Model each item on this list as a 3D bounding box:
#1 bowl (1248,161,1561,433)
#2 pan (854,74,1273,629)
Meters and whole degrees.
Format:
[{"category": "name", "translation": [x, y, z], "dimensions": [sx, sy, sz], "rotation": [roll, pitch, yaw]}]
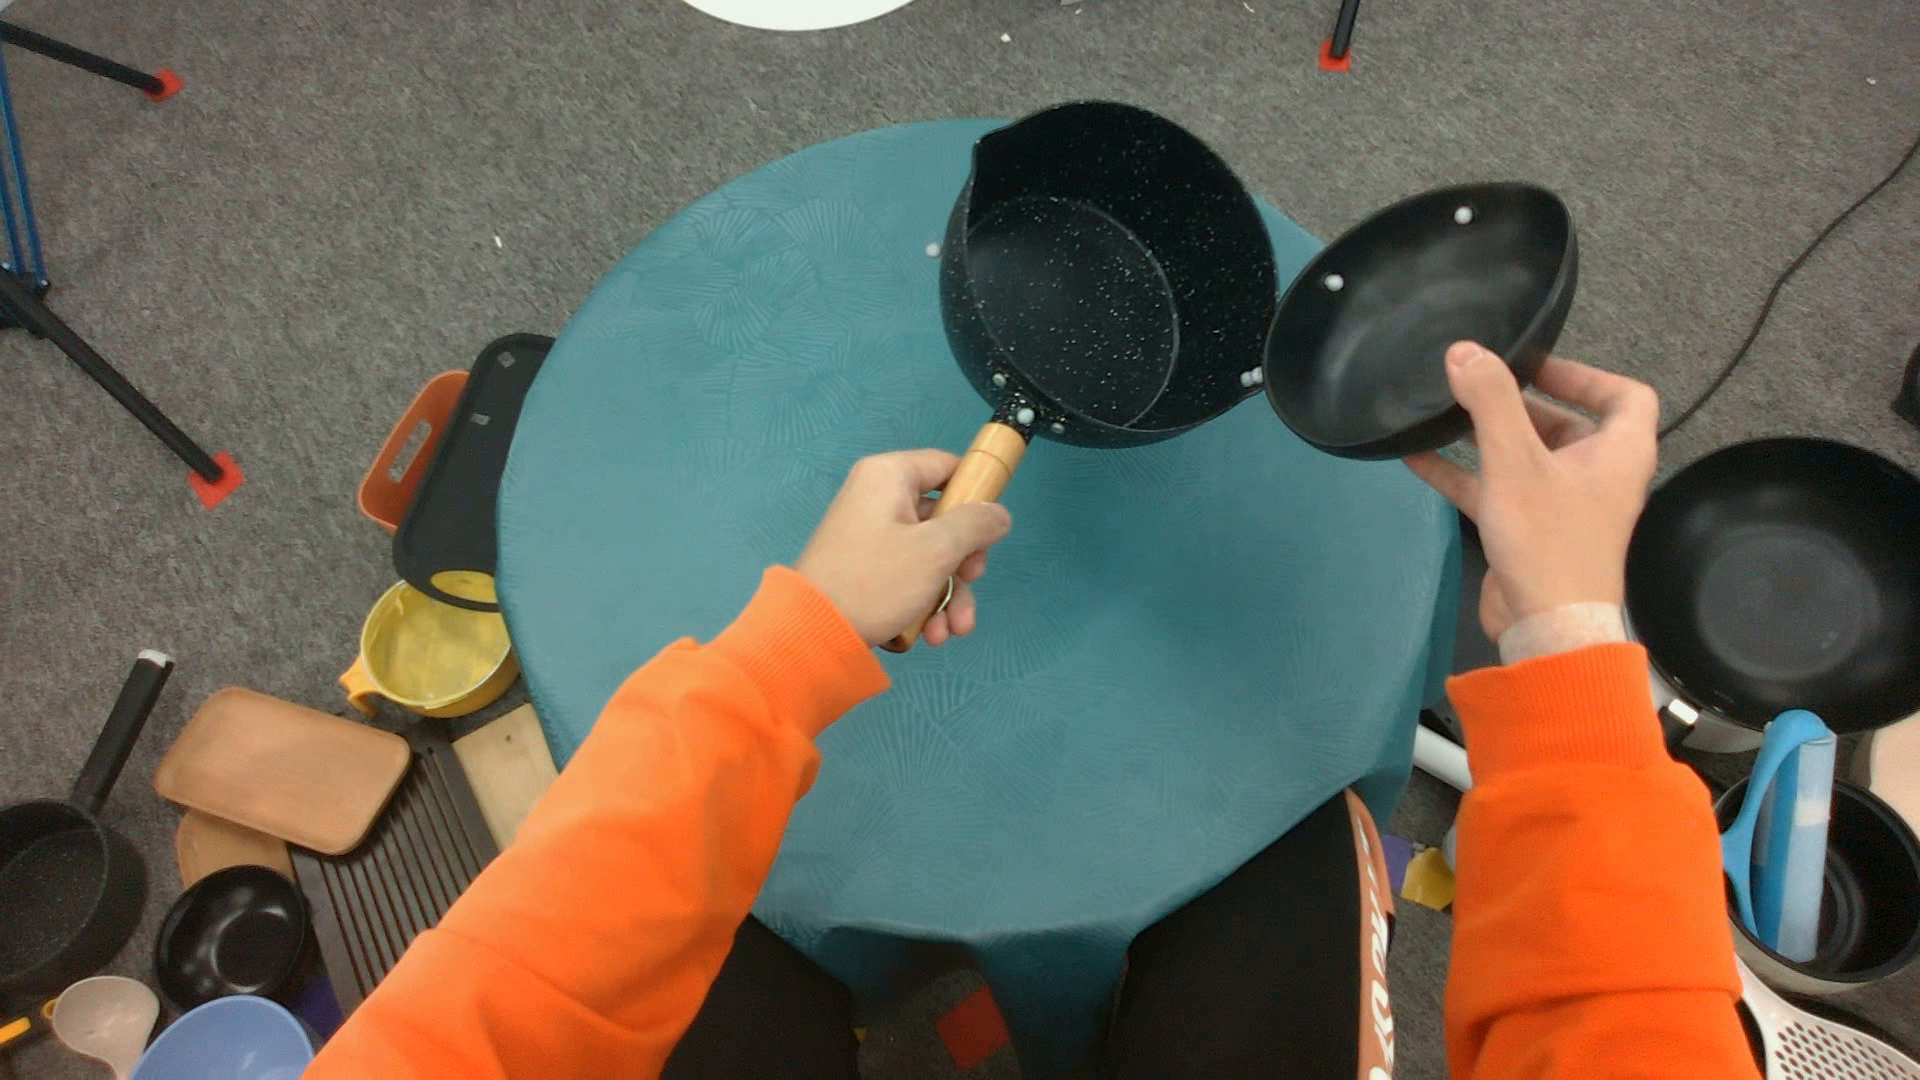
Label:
[{"category": "bowl", "translation": [0.222, -0.111, 0.670], "dimensions": [0.170, 0.066, 0.137], "rotation": [-53, 38, -9]}, {"category": "pan", "translation": [0.034, -0.088, 0.714], "dimensions": [0.207, 0.108, 0.344], "rotation": [37, 67, -13]}]
